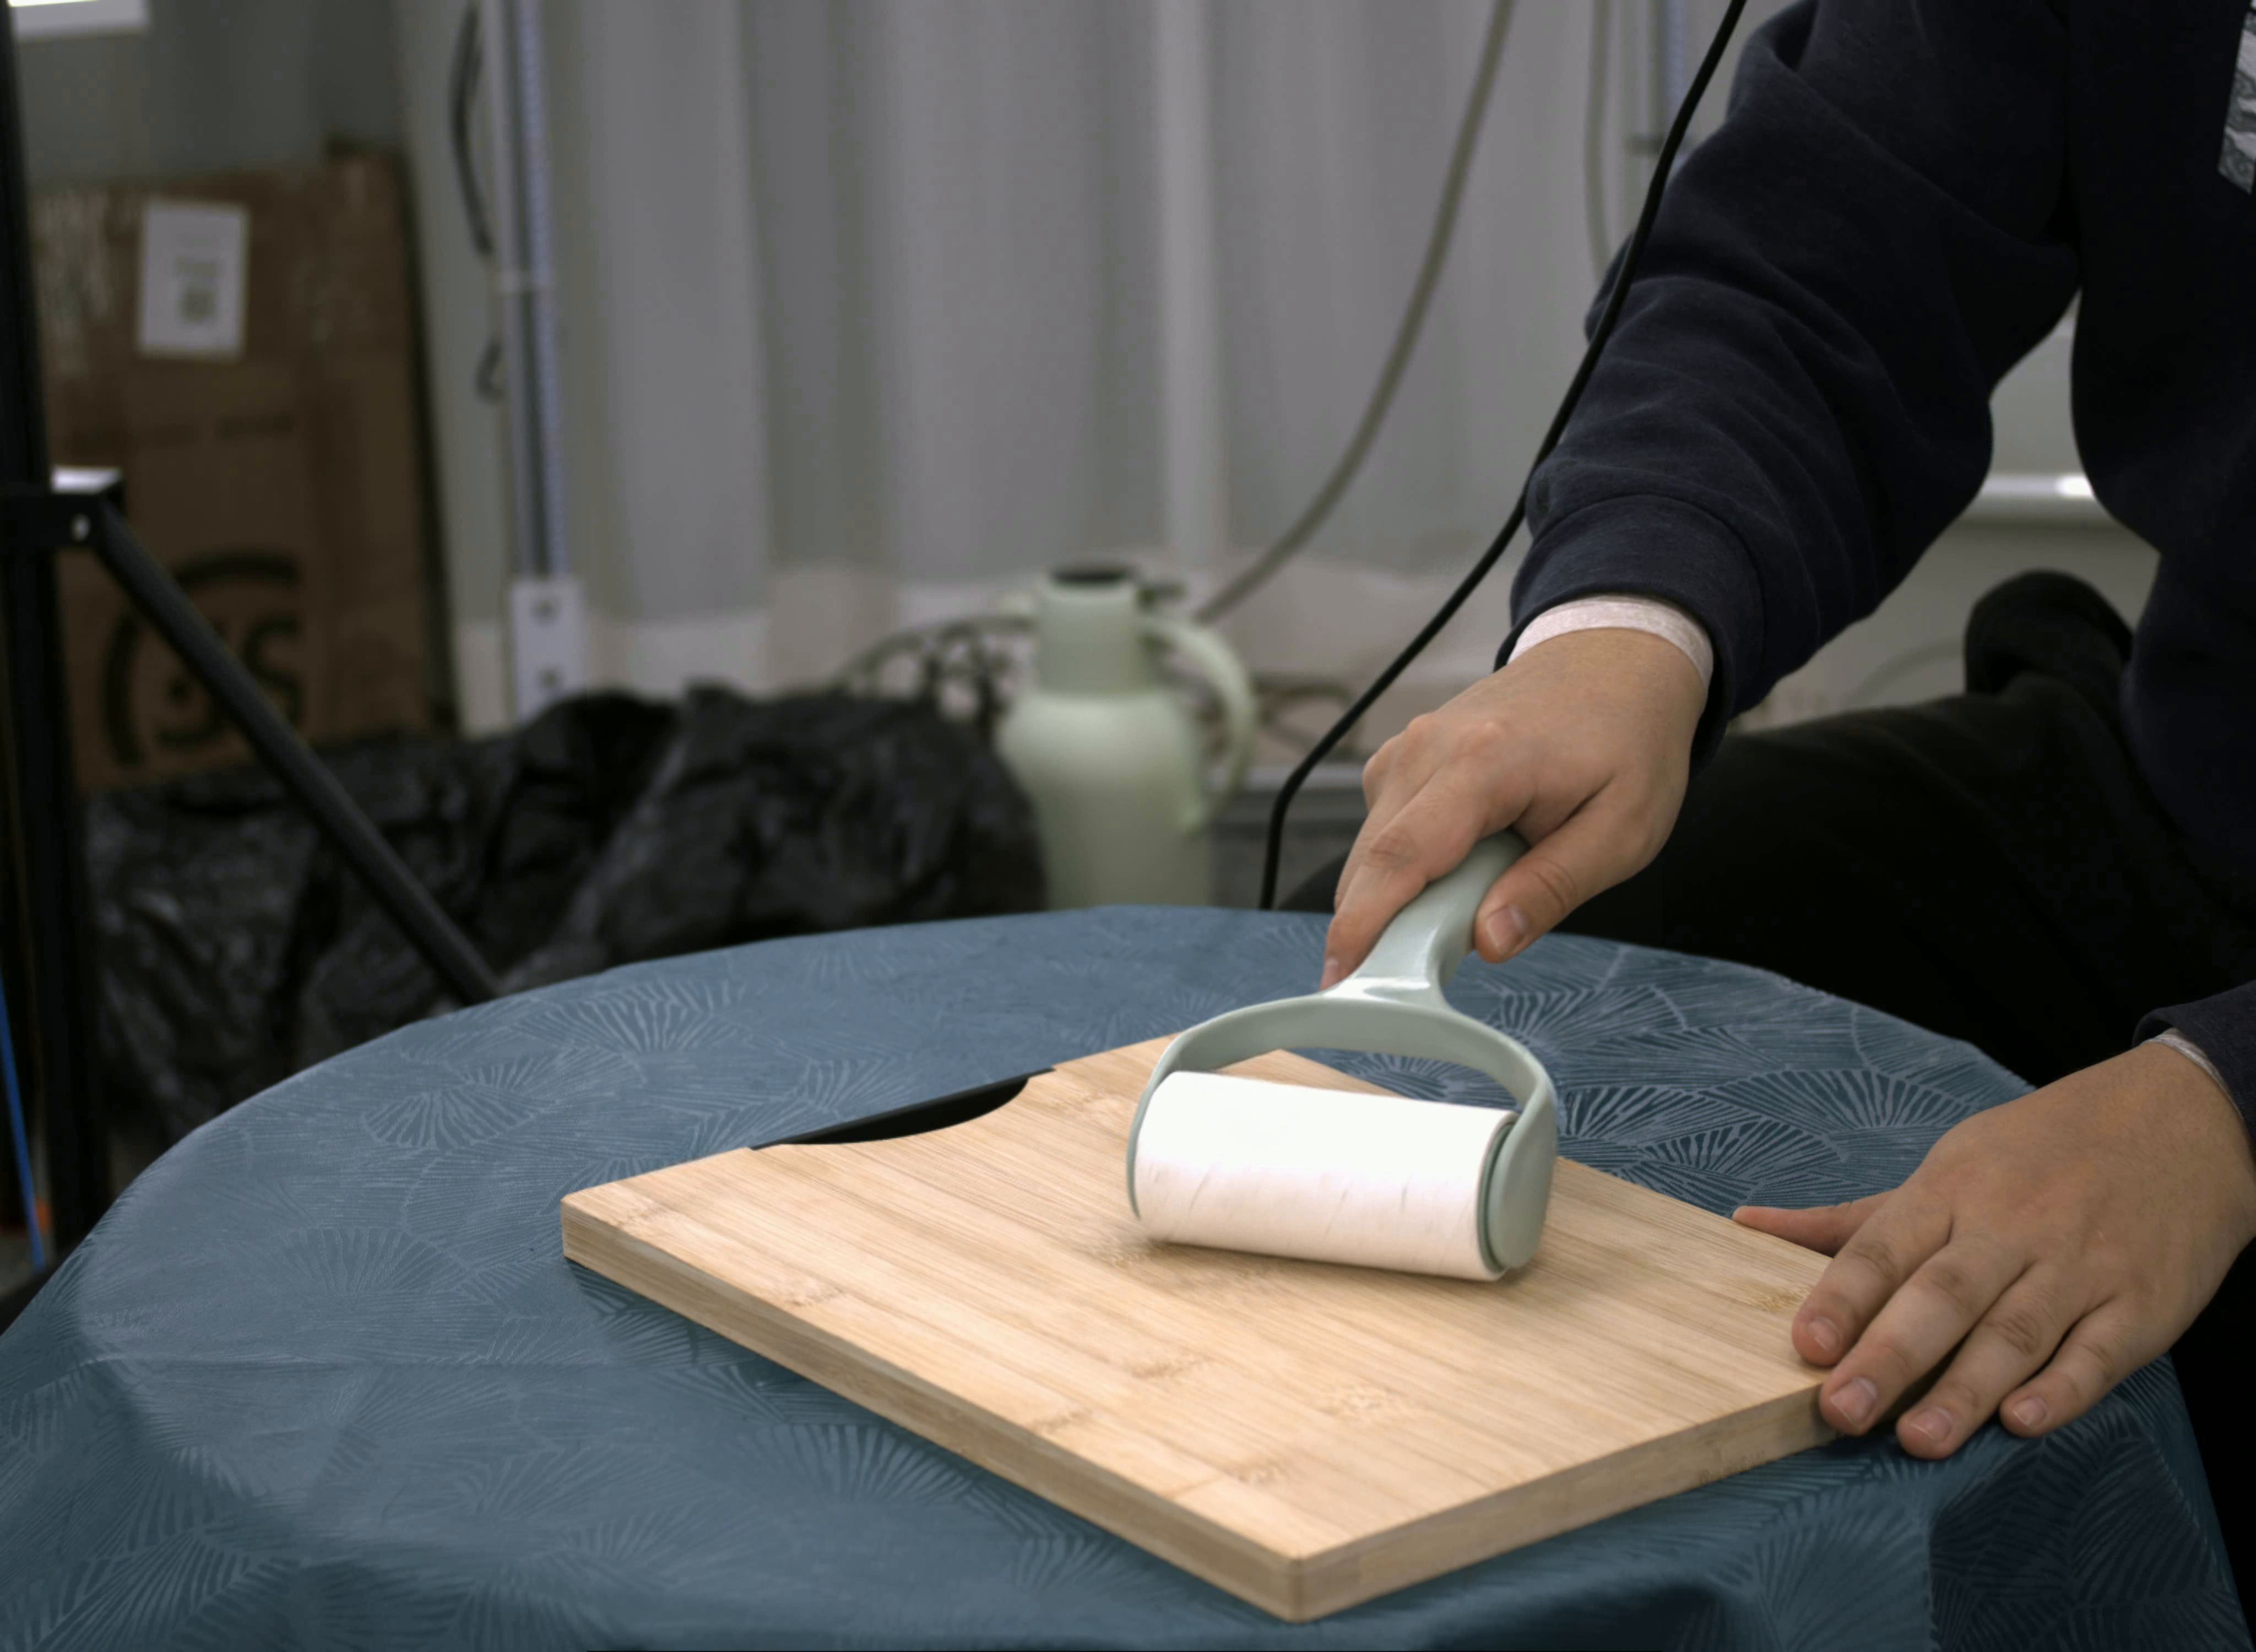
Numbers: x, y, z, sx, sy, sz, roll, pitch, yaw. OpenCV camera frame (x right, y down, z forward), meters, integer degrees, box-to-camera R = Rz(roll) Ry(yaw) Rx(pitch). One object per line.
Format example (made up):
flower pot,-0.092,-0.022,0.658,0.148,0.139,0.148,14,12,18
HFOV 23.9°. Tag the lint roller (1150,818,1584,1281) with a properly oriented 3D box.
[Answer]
lint roller,0.089,0.051,1.490,0.118,0.048,0.197,2,40,26

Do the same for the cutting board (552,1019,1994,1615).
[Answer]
cutting board,0.032,0.126,1.460,0.245,0.023,0.357,-13,19,-35
